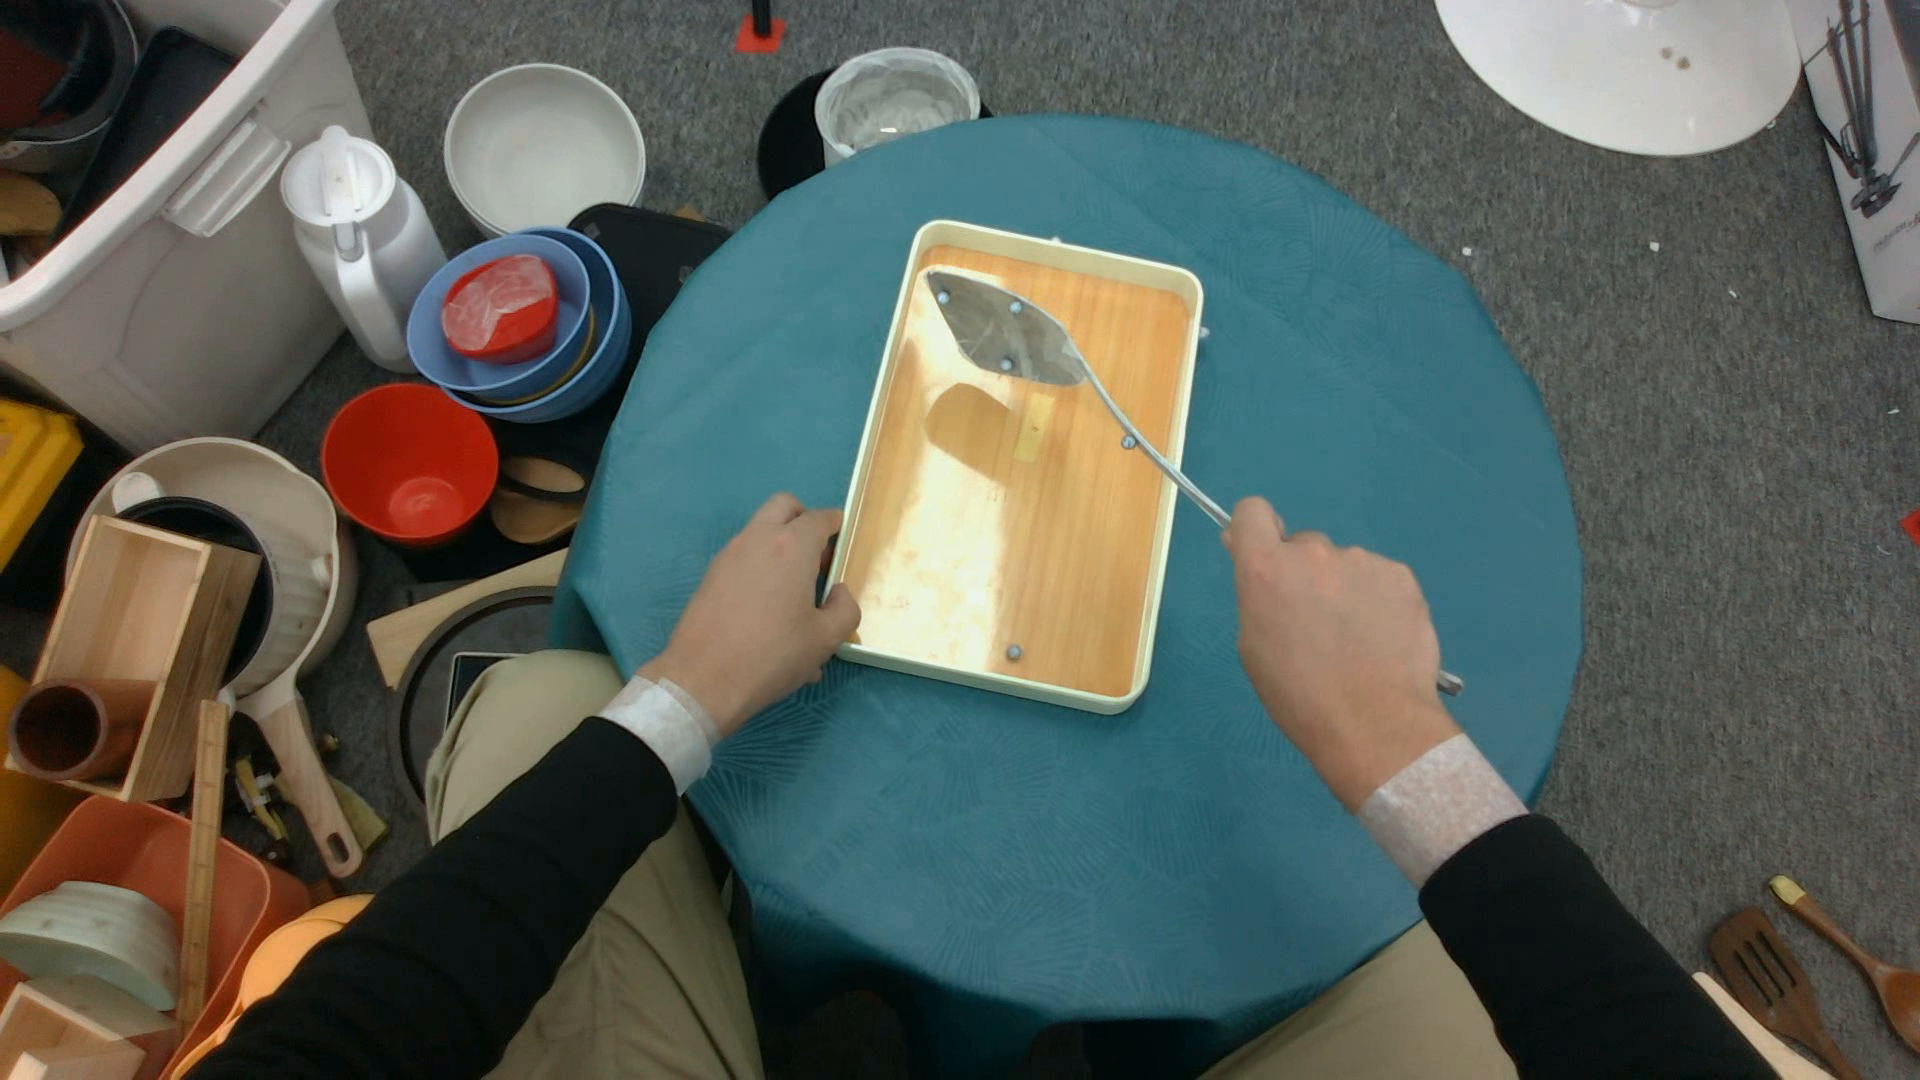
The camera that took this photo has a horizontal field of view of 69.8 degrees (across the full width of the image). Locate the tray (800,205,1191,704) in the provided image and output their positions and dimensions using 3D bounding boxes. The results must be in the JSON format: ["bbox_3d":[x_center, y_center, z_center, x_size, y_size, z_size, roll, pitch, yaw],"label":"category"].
[{"bbox_3d":[0.028,-0.060,0.835,0.191,0.027,0.301,13,66,0],"label":"tray"}]

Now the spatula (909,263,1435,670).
[{"bbox_3d":[0.098,-0.043,0.729,0.045,0.098,0.365,-39,57,-6],"label":"spatula"}]
